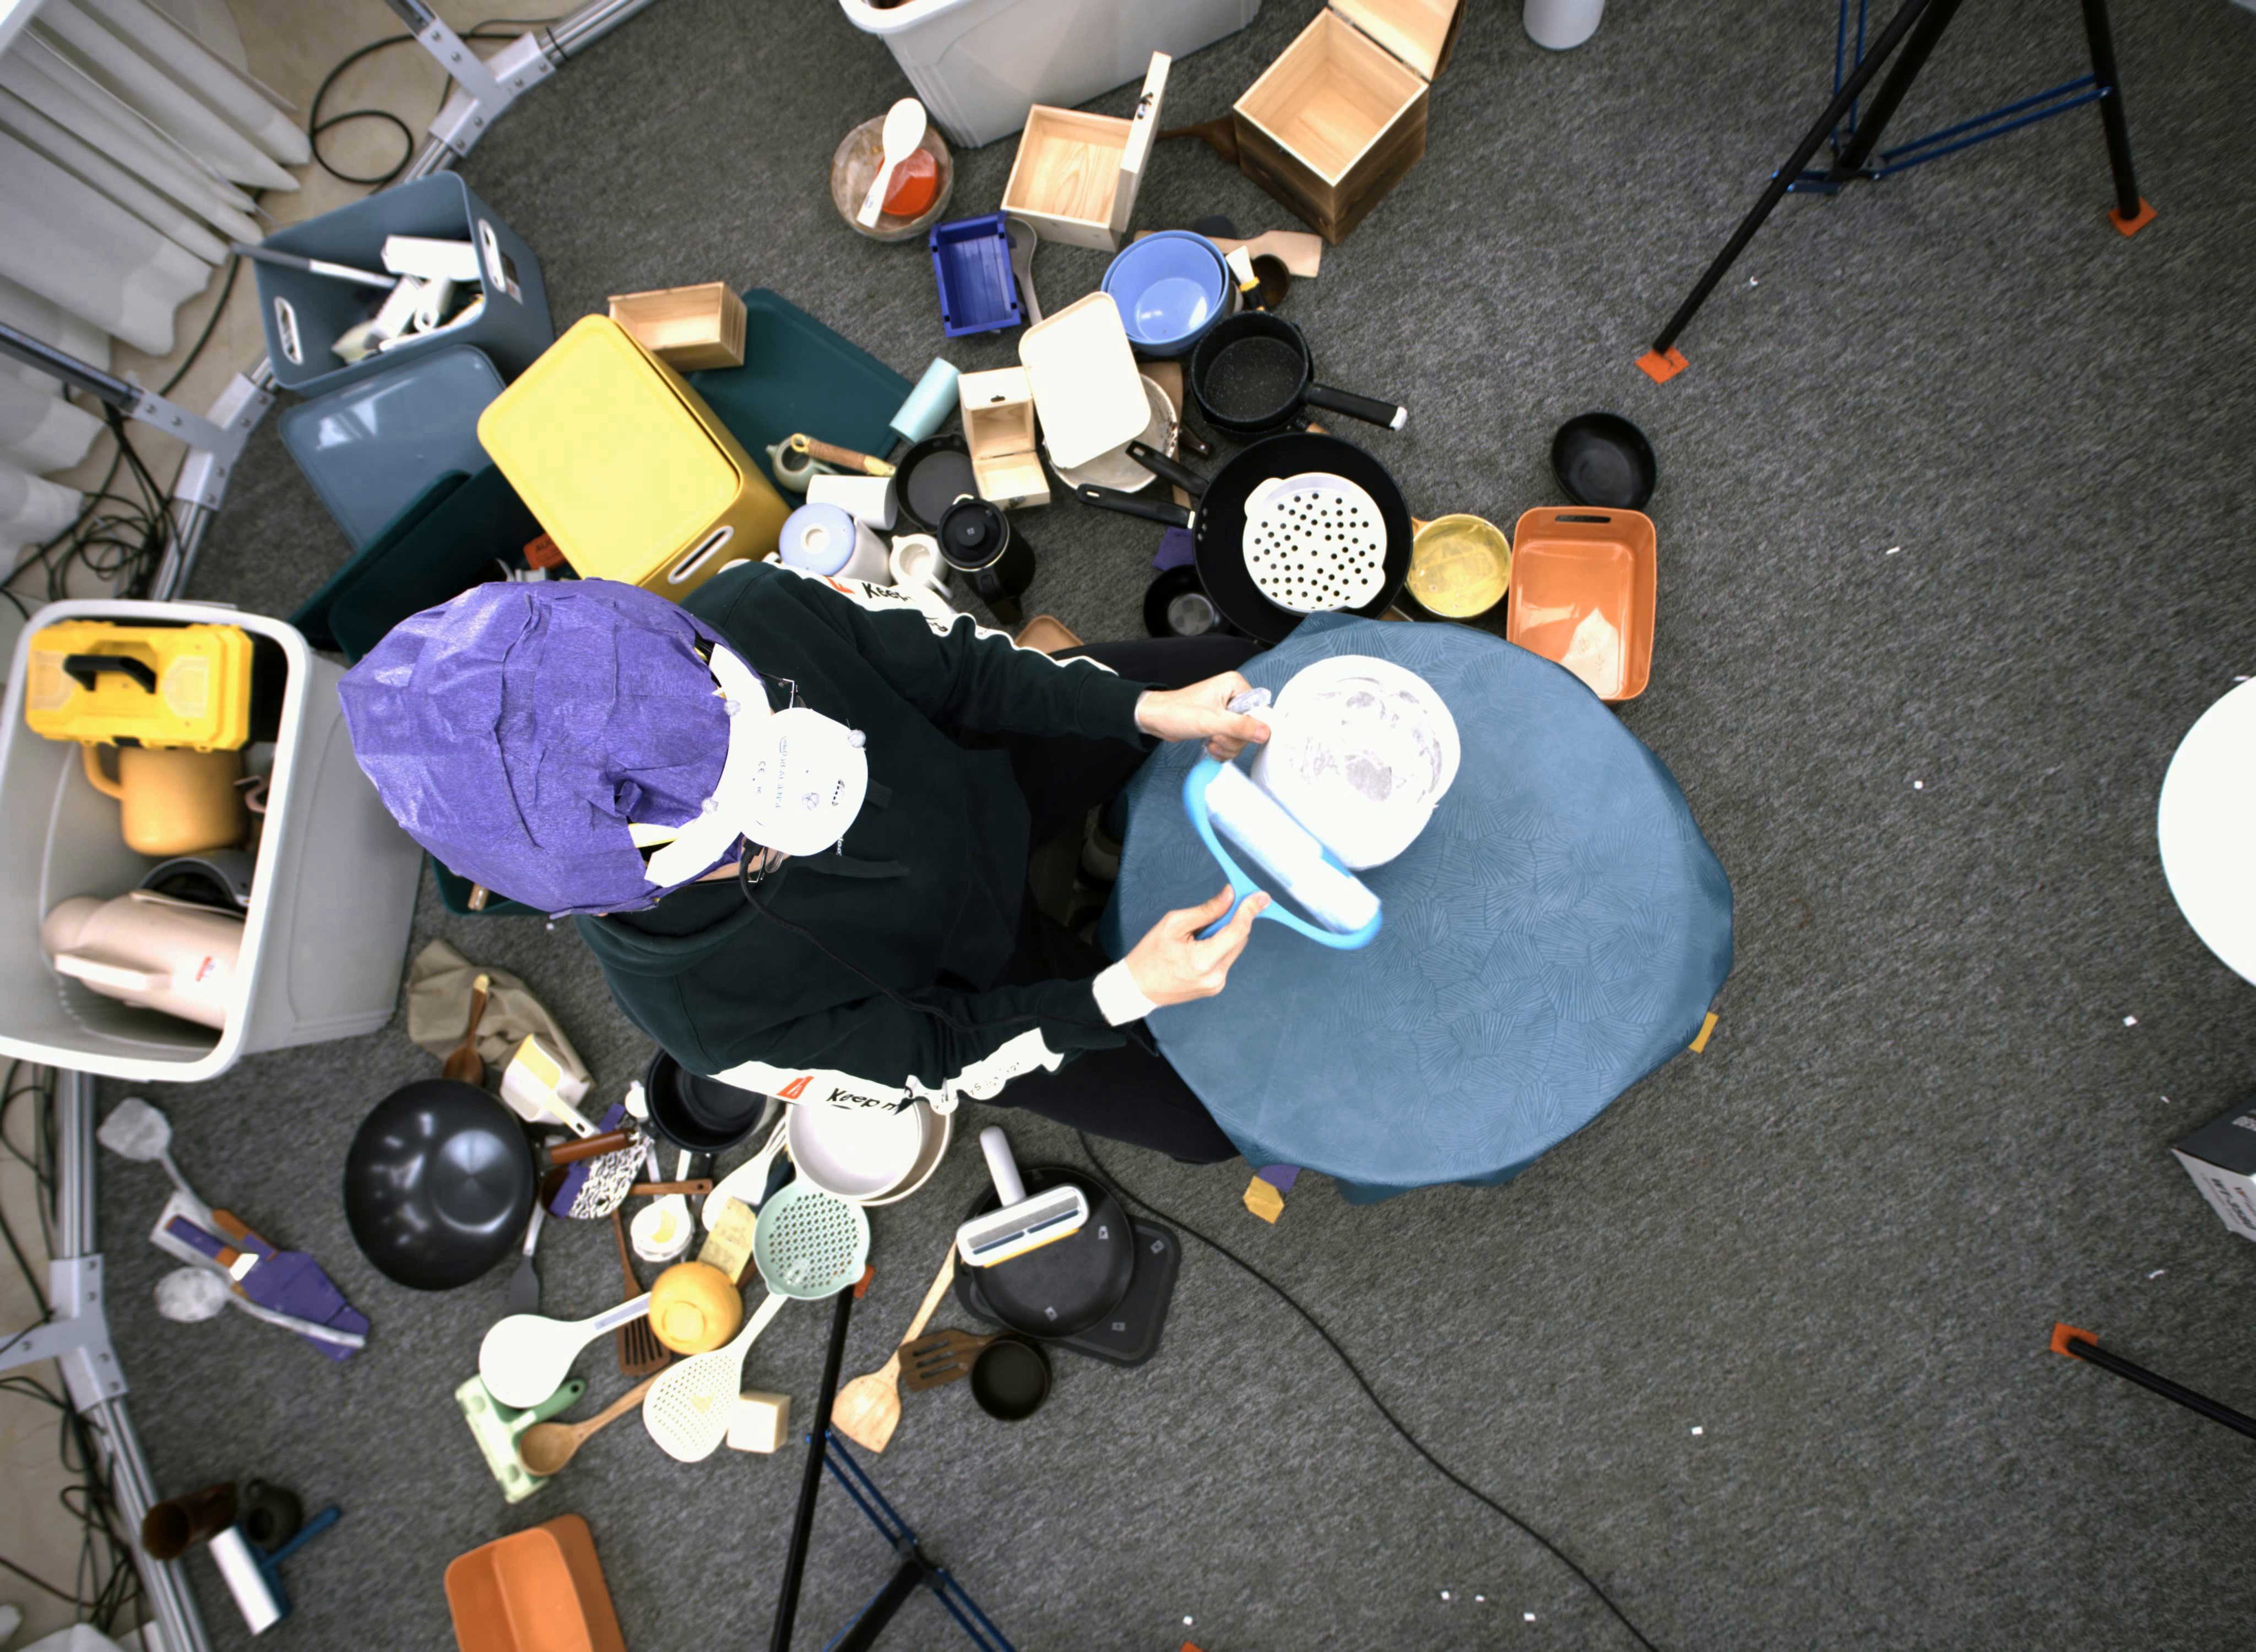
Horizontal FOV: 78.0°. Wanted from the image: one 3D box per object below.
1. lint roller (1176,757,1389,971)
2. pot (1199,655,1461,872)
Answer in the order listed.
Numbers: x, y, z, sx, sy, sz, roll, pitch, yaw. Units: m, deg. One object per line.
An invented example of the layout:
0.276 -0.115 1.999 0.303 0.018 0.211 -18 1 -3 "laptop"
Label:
0.112 0.066 1.263 0.229 0.067 0.180 38 92 -8 "lint roller"
0.184 -0.064 1.310 0.234 0.139 0.175 22 63 2 "pot"
